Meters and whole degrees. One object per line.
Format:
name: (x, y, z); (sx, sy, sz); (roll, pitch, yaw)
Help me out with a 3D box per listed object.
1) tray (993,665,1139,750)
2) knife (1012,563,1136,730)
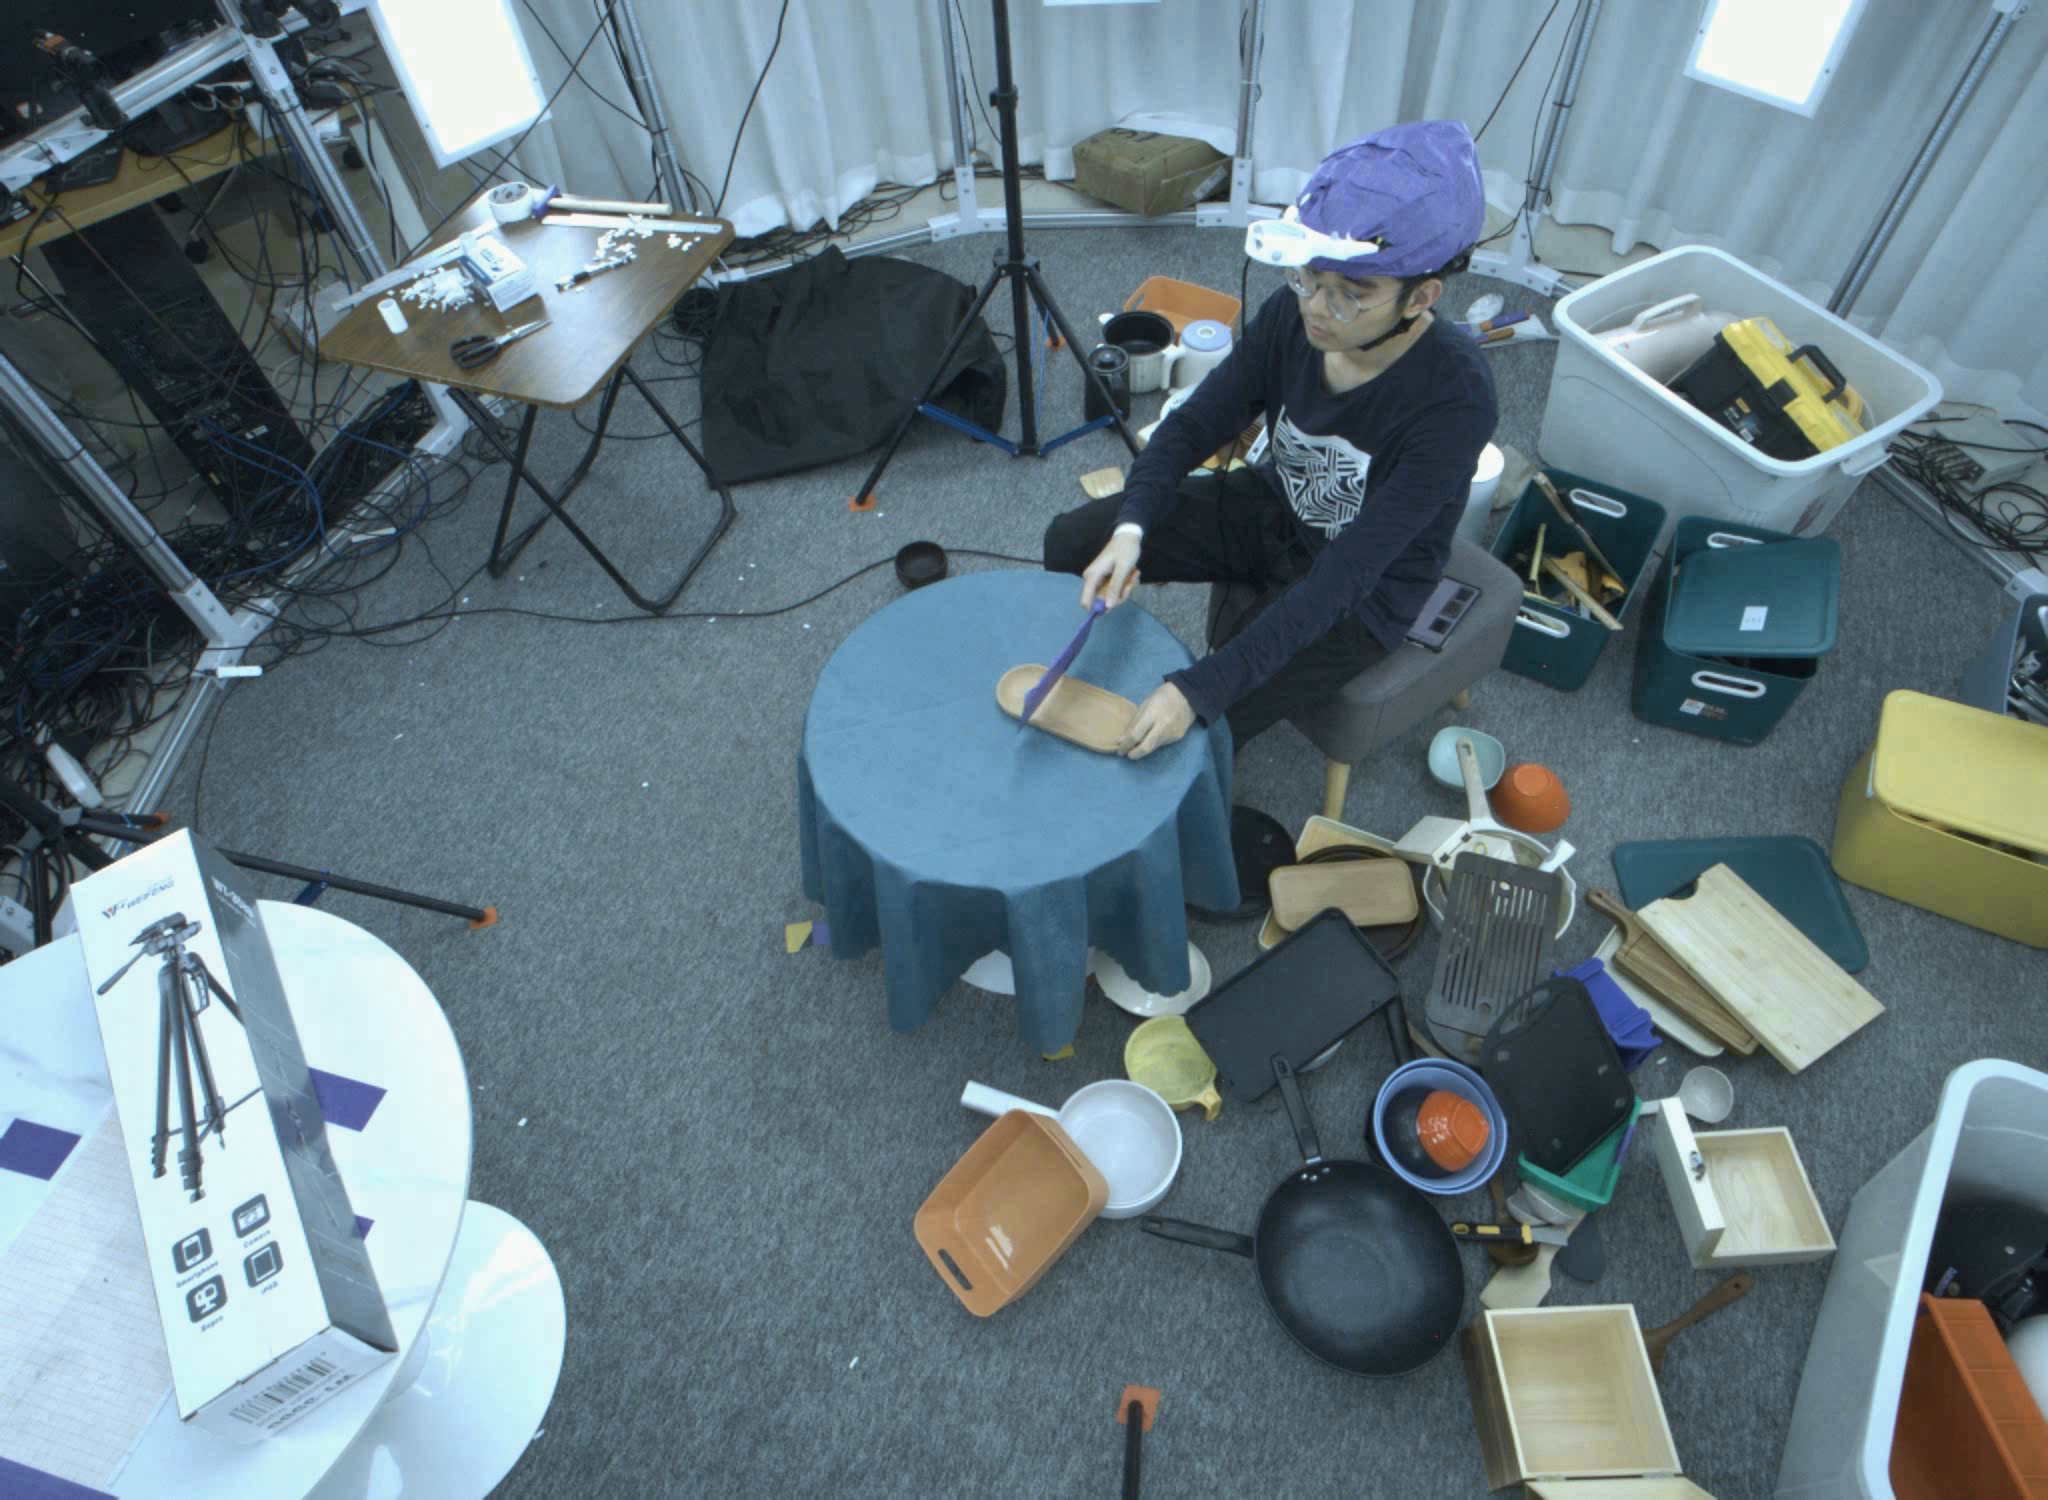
tray: (0.061, -0.063, 1.830); (0.228, 0.020, 0.102); (20, 56, 18)
knife: (0.069, -0.156, 1.825); (0.032, 0.104, 0.316); (34, 59, 8)
